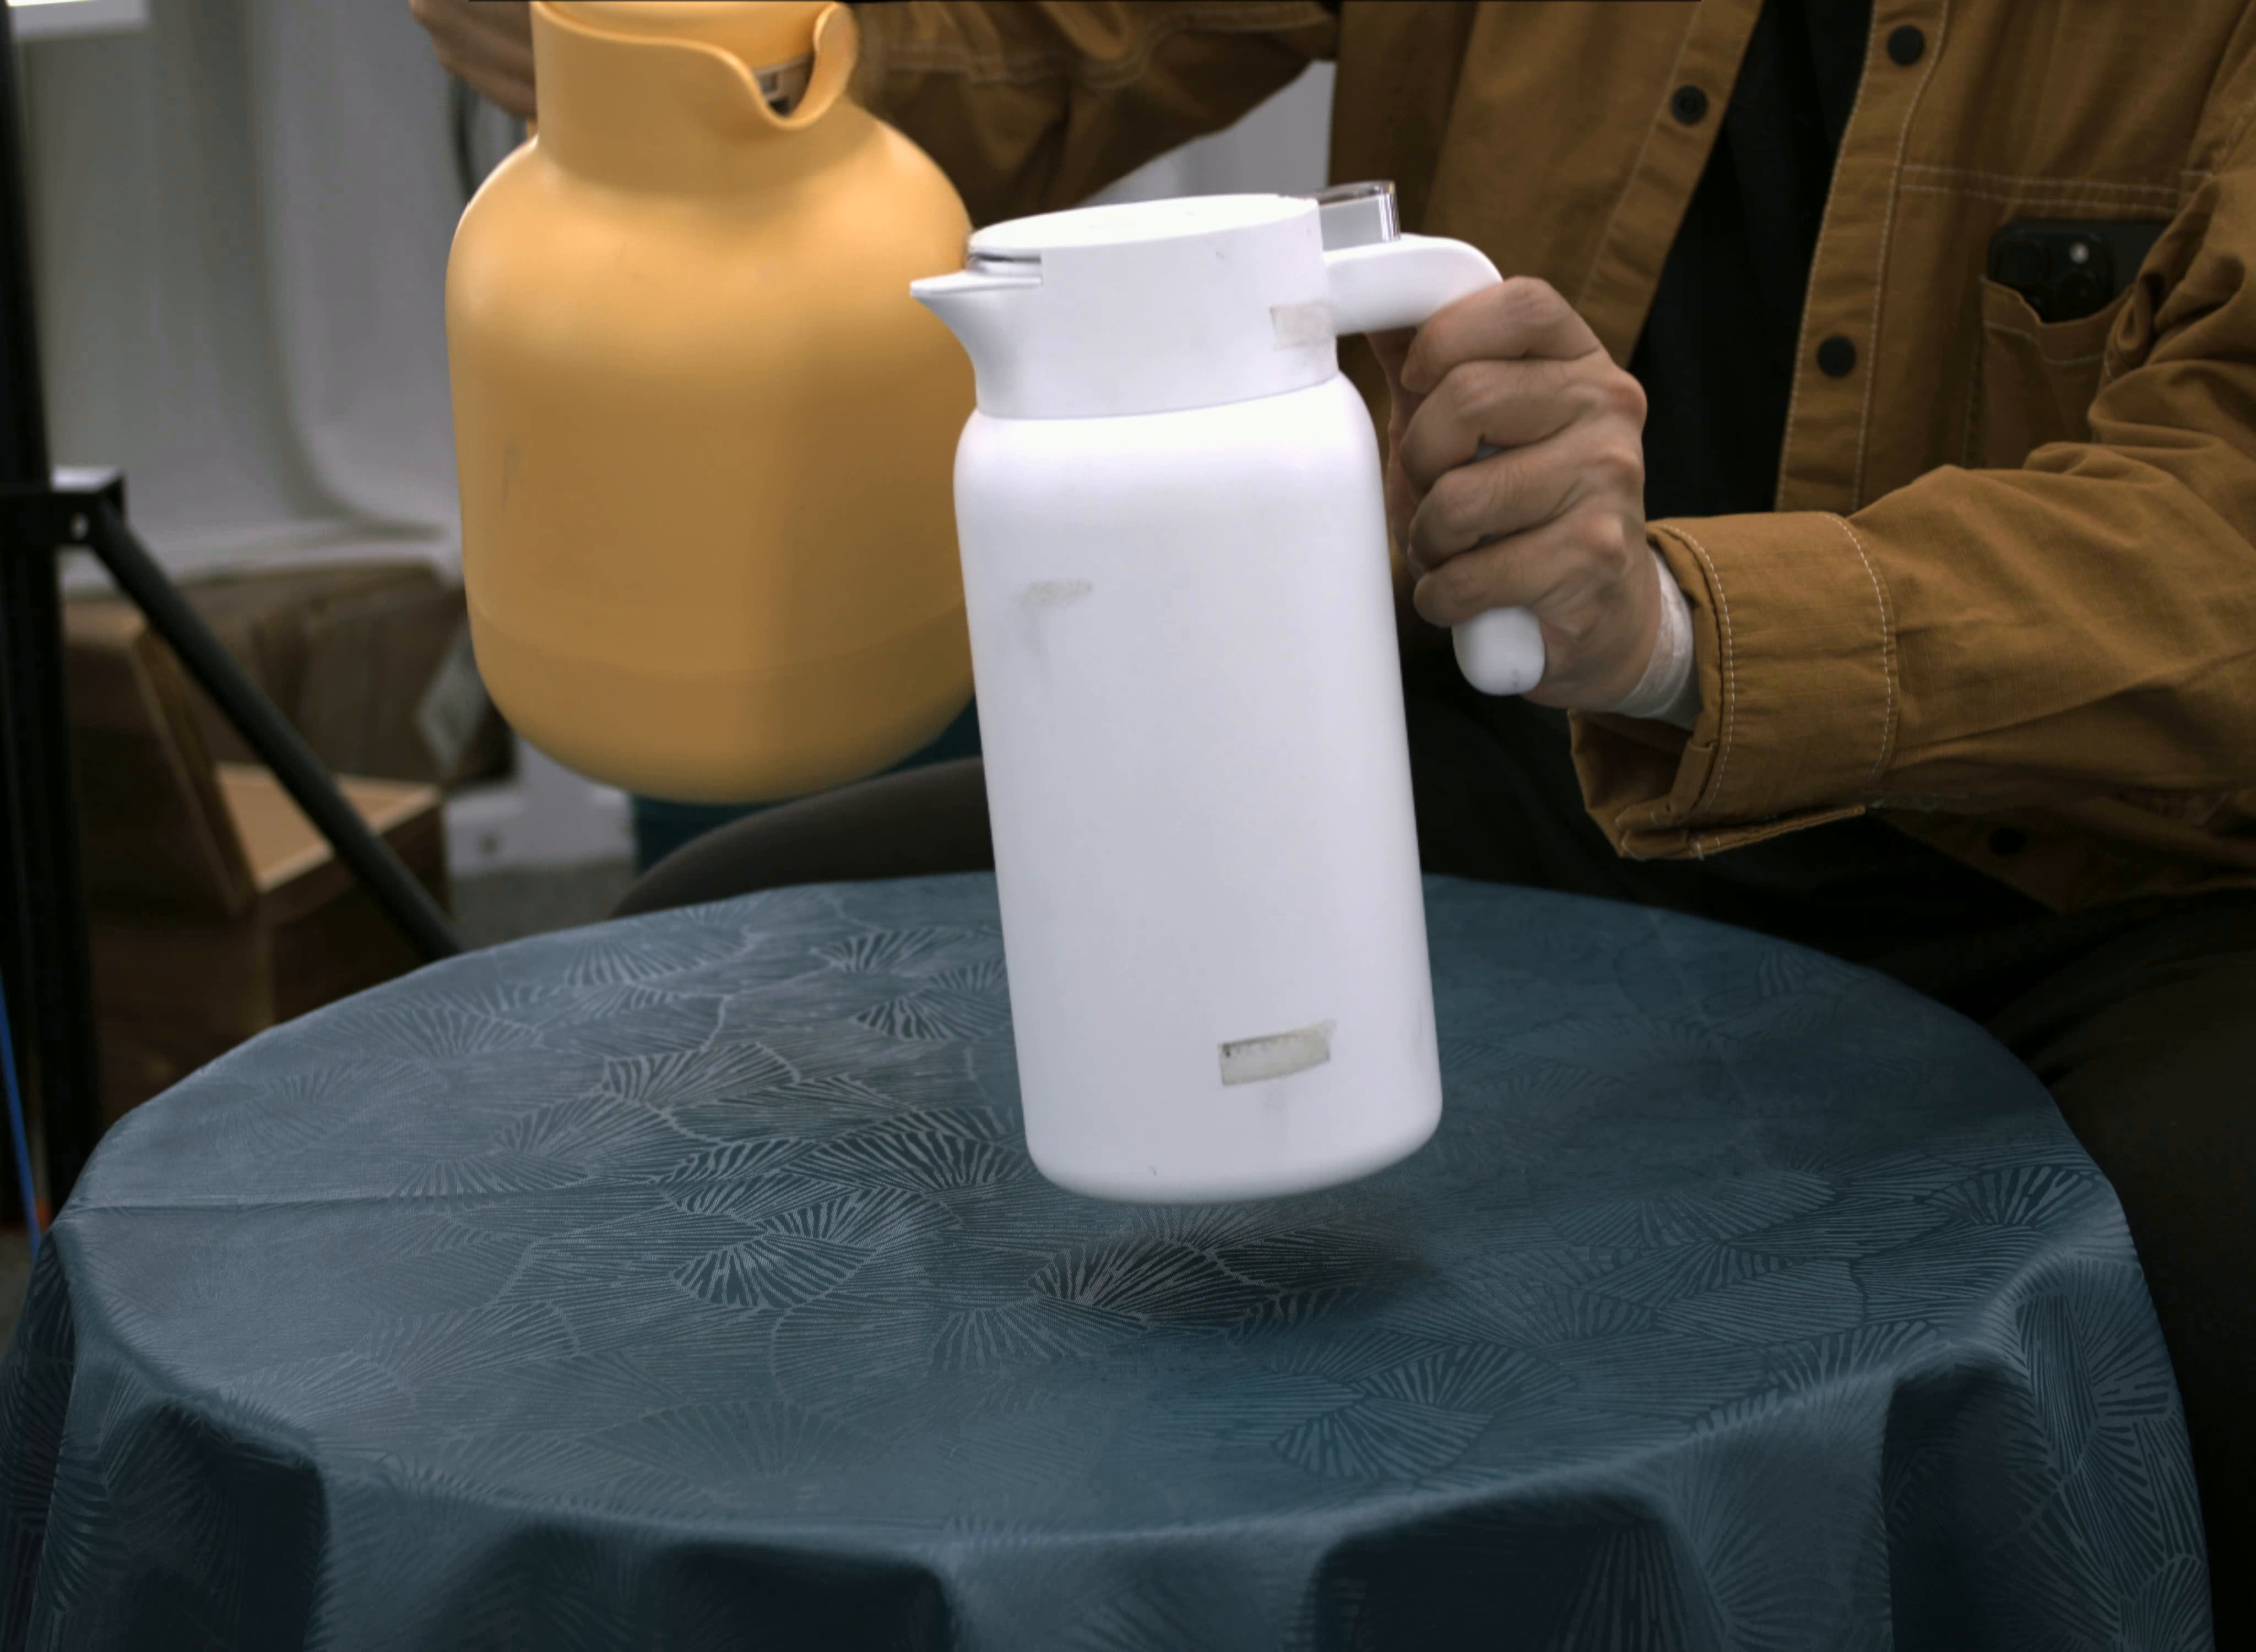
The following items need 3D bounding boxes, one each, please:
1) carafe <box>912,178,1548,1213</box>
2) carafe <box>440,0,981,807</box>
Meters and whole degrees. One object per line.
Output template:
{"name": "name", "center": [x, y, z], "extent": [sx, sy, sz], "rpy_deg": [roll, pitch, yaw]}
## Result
{"name": "carafe", "center": [0.033, -0.039, 1.459], "extent": [0.169, 0.269, 0.126], "rpy_deg": [-10, 10, -21]}
{"name": "carafe", "center": [-0.131, -0.155, 1.608], "extent": [0.160, 0.259, 0.206], "rpy_deg": [-10, 32, -20]}
